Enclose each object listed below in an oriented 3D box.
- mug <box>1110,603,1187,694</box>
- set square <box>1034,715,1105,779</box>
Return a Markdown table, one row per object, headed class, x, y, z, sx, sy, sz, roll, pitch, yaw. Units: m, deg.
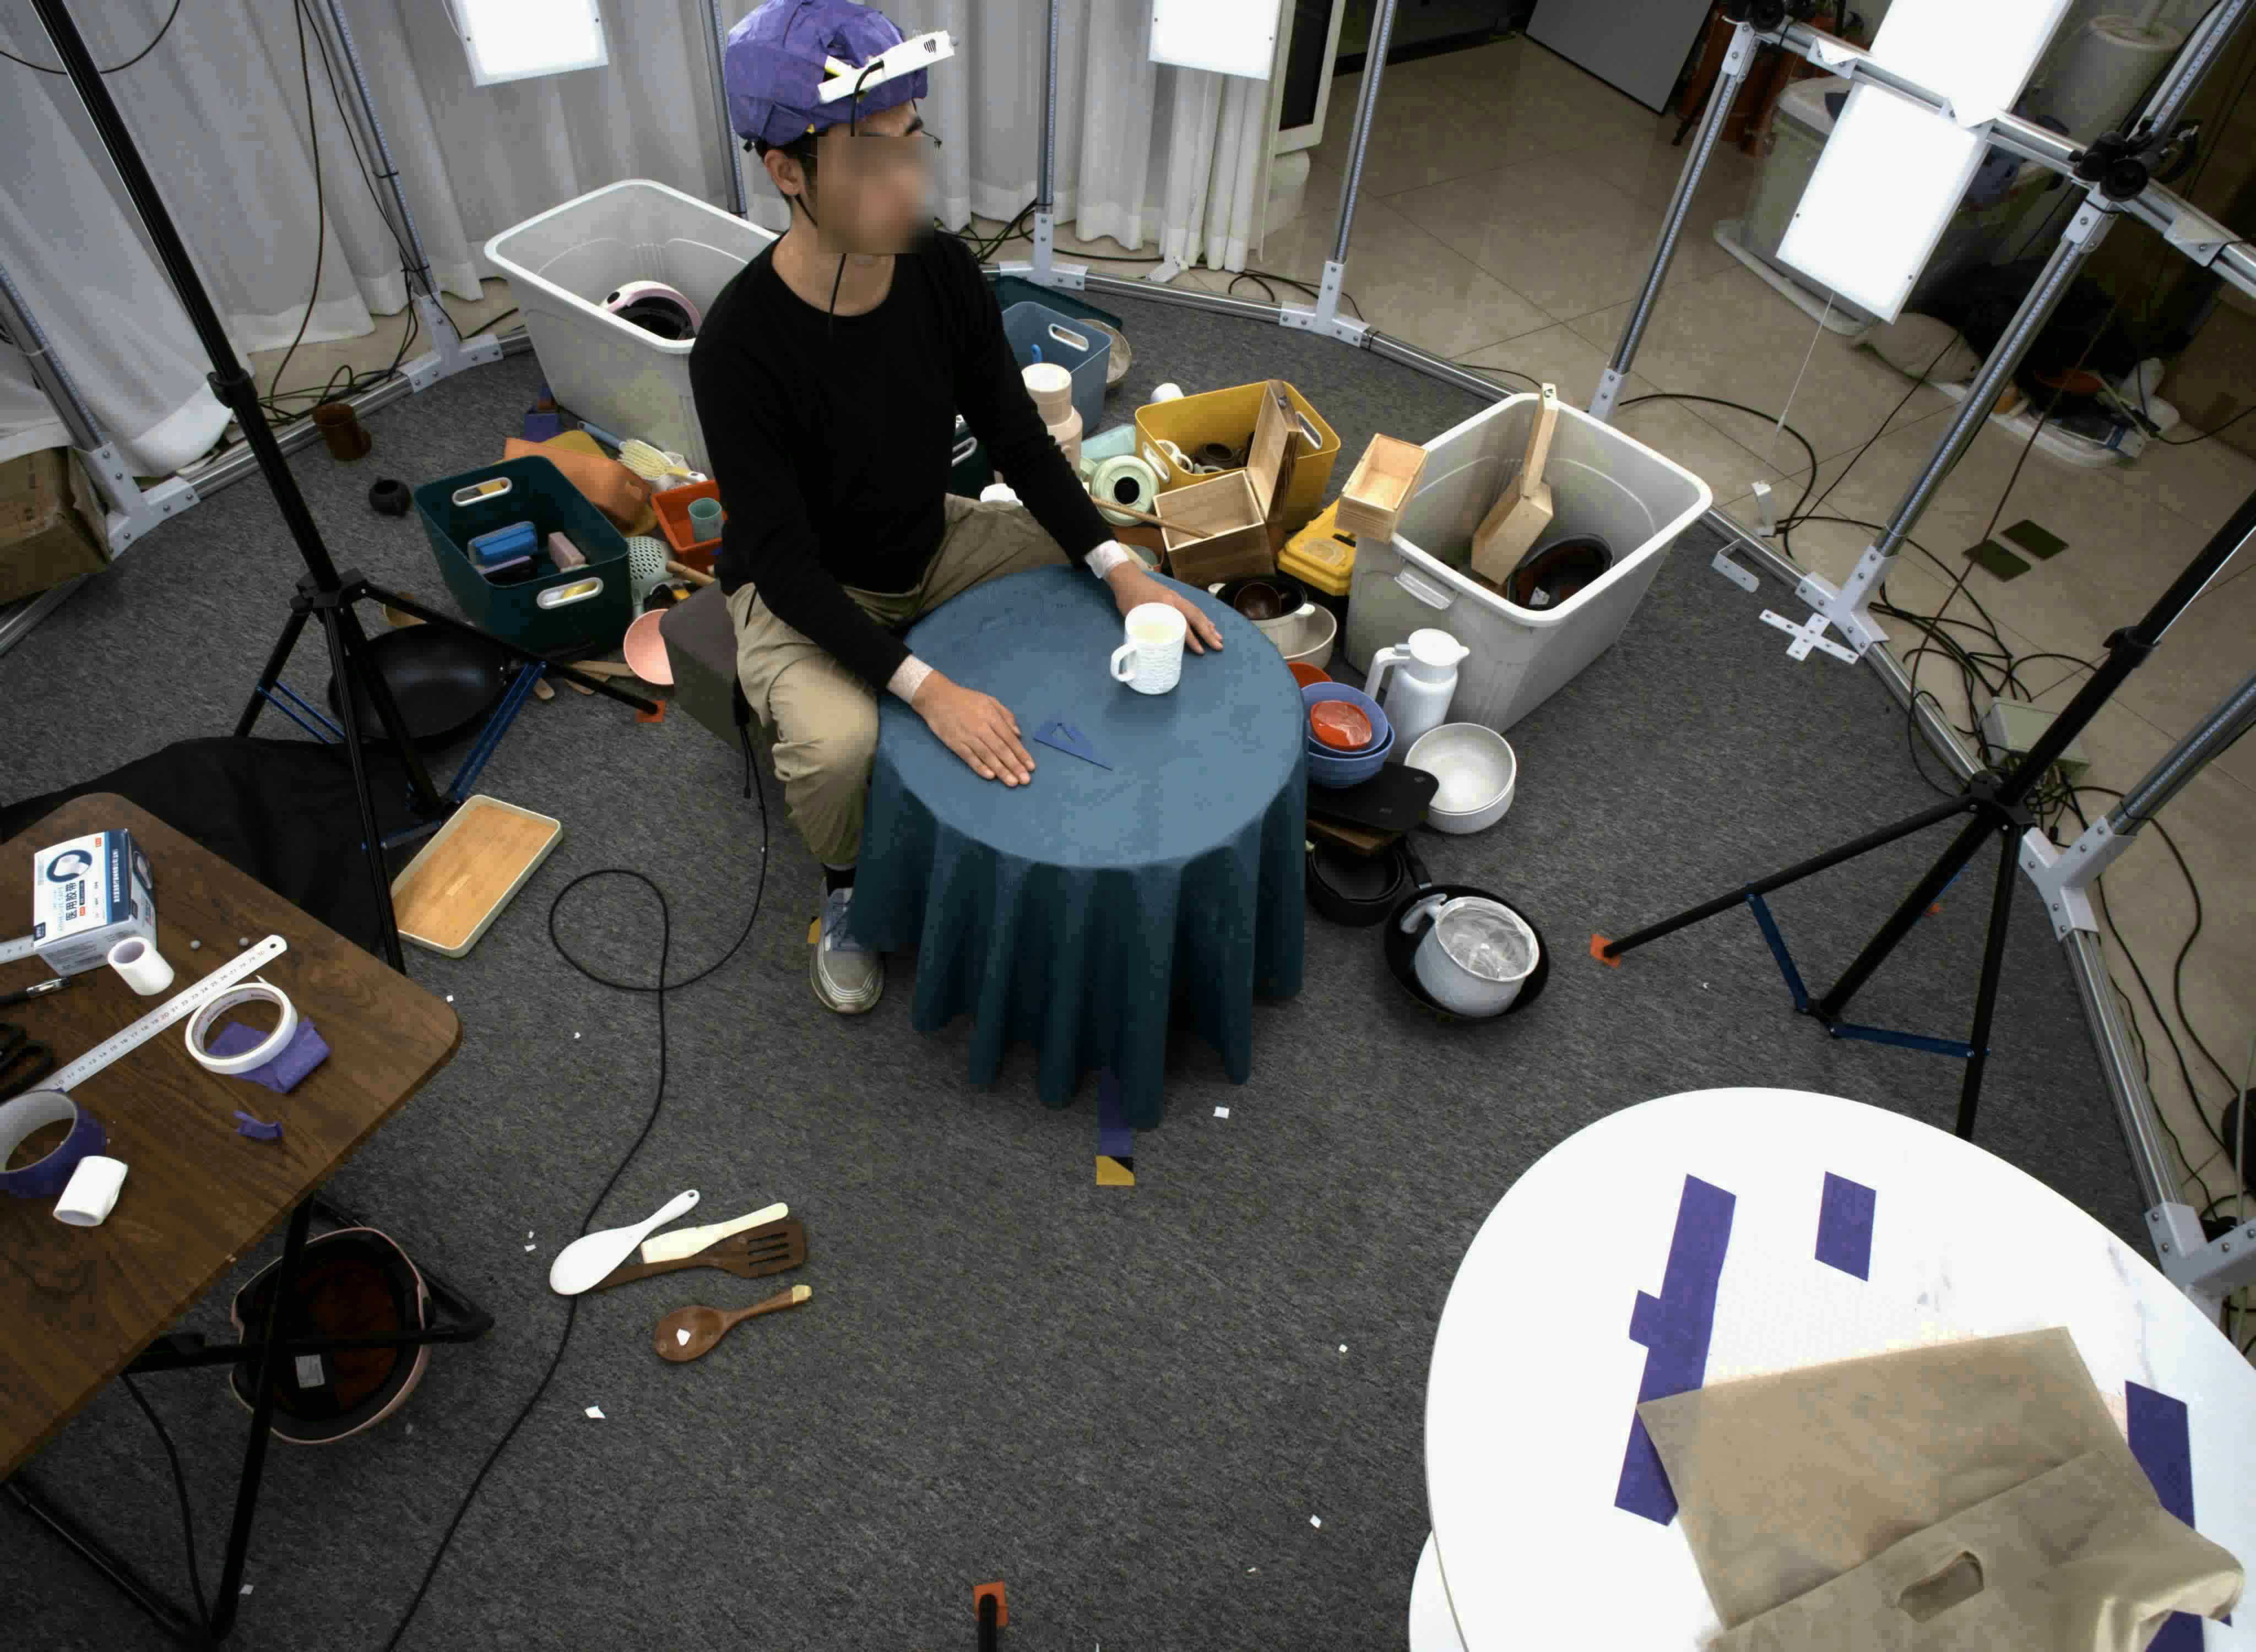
| class | x | y | z | sx | sy | sz | roll | pitch | yaw |
| --- | --- | --- | --- | --- | --- | --- | --- | --- | --- |
| mug | 0.024 | -0.244 | 1.816 | 0.119 | 0.099 | 0.086 | -31 | 58 | -27 |
| set square | -0.085 | -0.103 | 1.750 | 0.061 | 0.006 | 0.135 | -20 | 54 | -22 |
